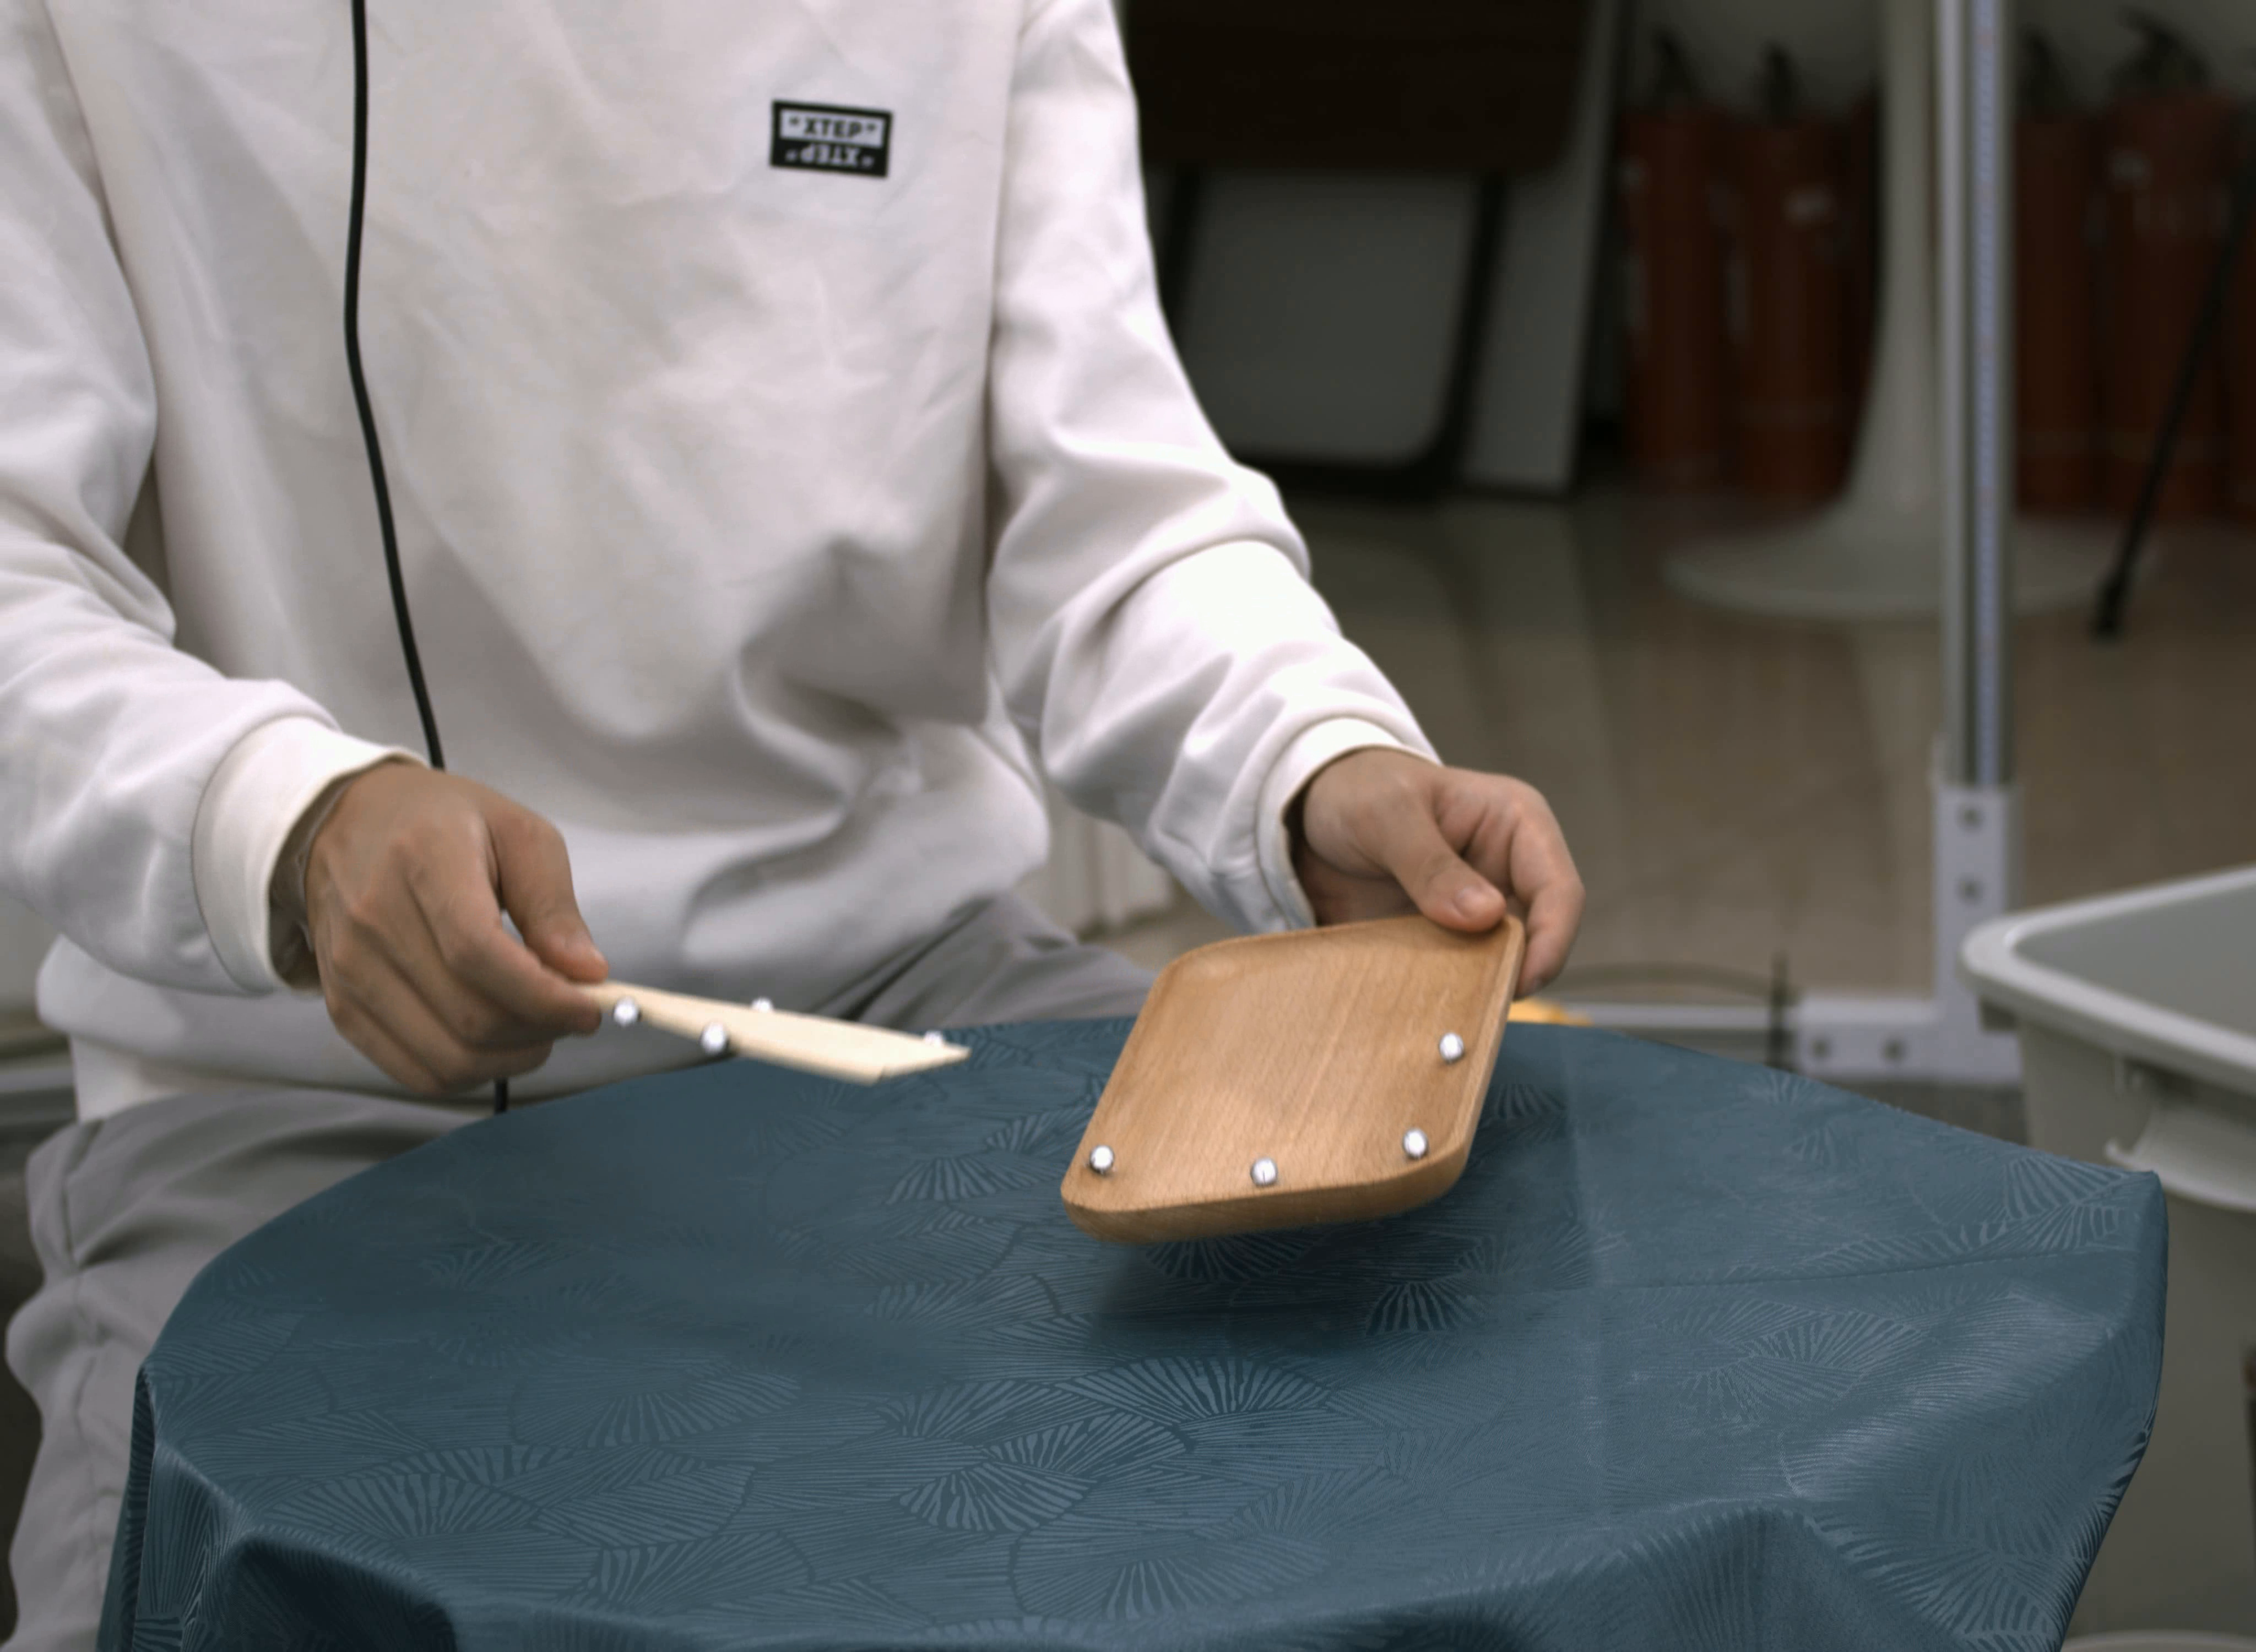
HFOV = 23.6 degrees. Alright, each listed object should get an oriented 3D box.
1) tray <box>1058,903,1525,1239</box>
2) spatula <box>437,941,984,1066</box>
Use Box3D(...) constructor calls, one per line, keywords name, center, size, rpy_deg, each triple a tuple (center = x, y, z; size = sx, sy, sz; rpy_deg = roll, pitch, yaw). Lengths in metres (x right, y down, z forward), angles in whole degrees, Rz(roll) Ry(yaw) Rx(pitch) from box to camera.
Box3D(name="tray", center=(0.056, 0.076, 1.723), size=(0.130, 0.023, 0.249), rpy_deg=(-6, 16, 12))
Box3D(name="spatula", center=(-0.138, 0.055, 1.694), size=(0.209, 0.005, 0.049), rpy_deg=(11, 7, 37))
